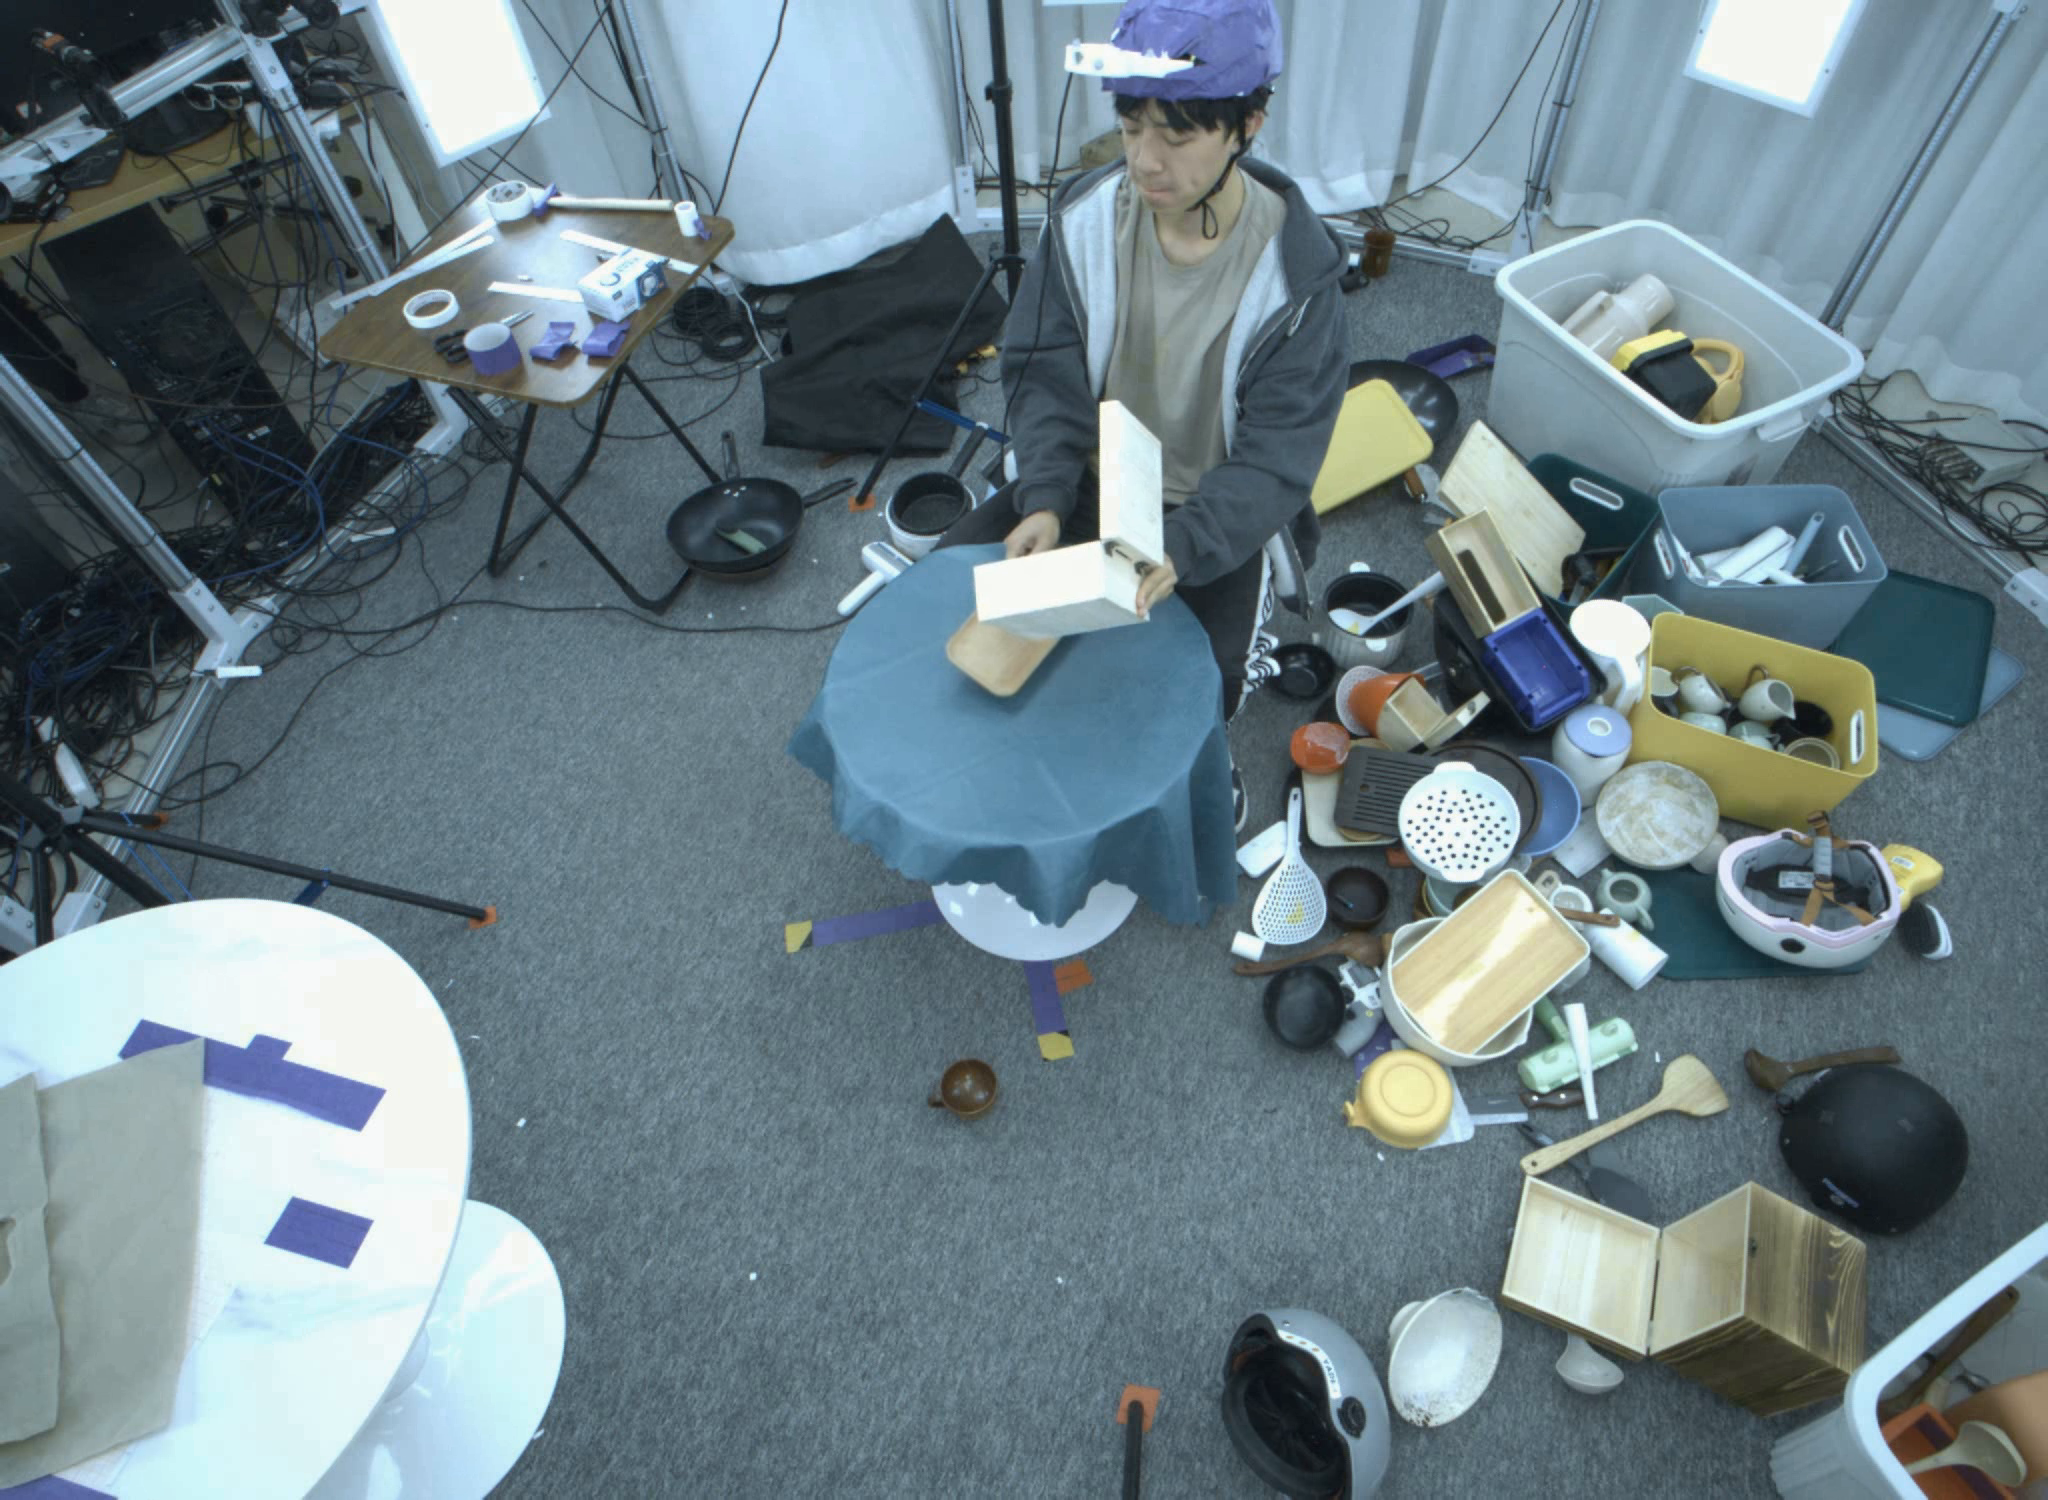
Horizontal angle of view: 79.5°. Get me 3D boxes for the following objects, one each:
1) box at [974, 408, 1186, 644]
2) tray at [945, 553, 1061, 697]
[{"bbox_3d":[0.079,-0.300,1.674,0.261,0.185,0.252,-7,82,21],"label":"box"},{"bbox_3d":[-0.009,-0.192,1.868,0.130,0.023,0.252,39,62,0],"label":"tray"}]
